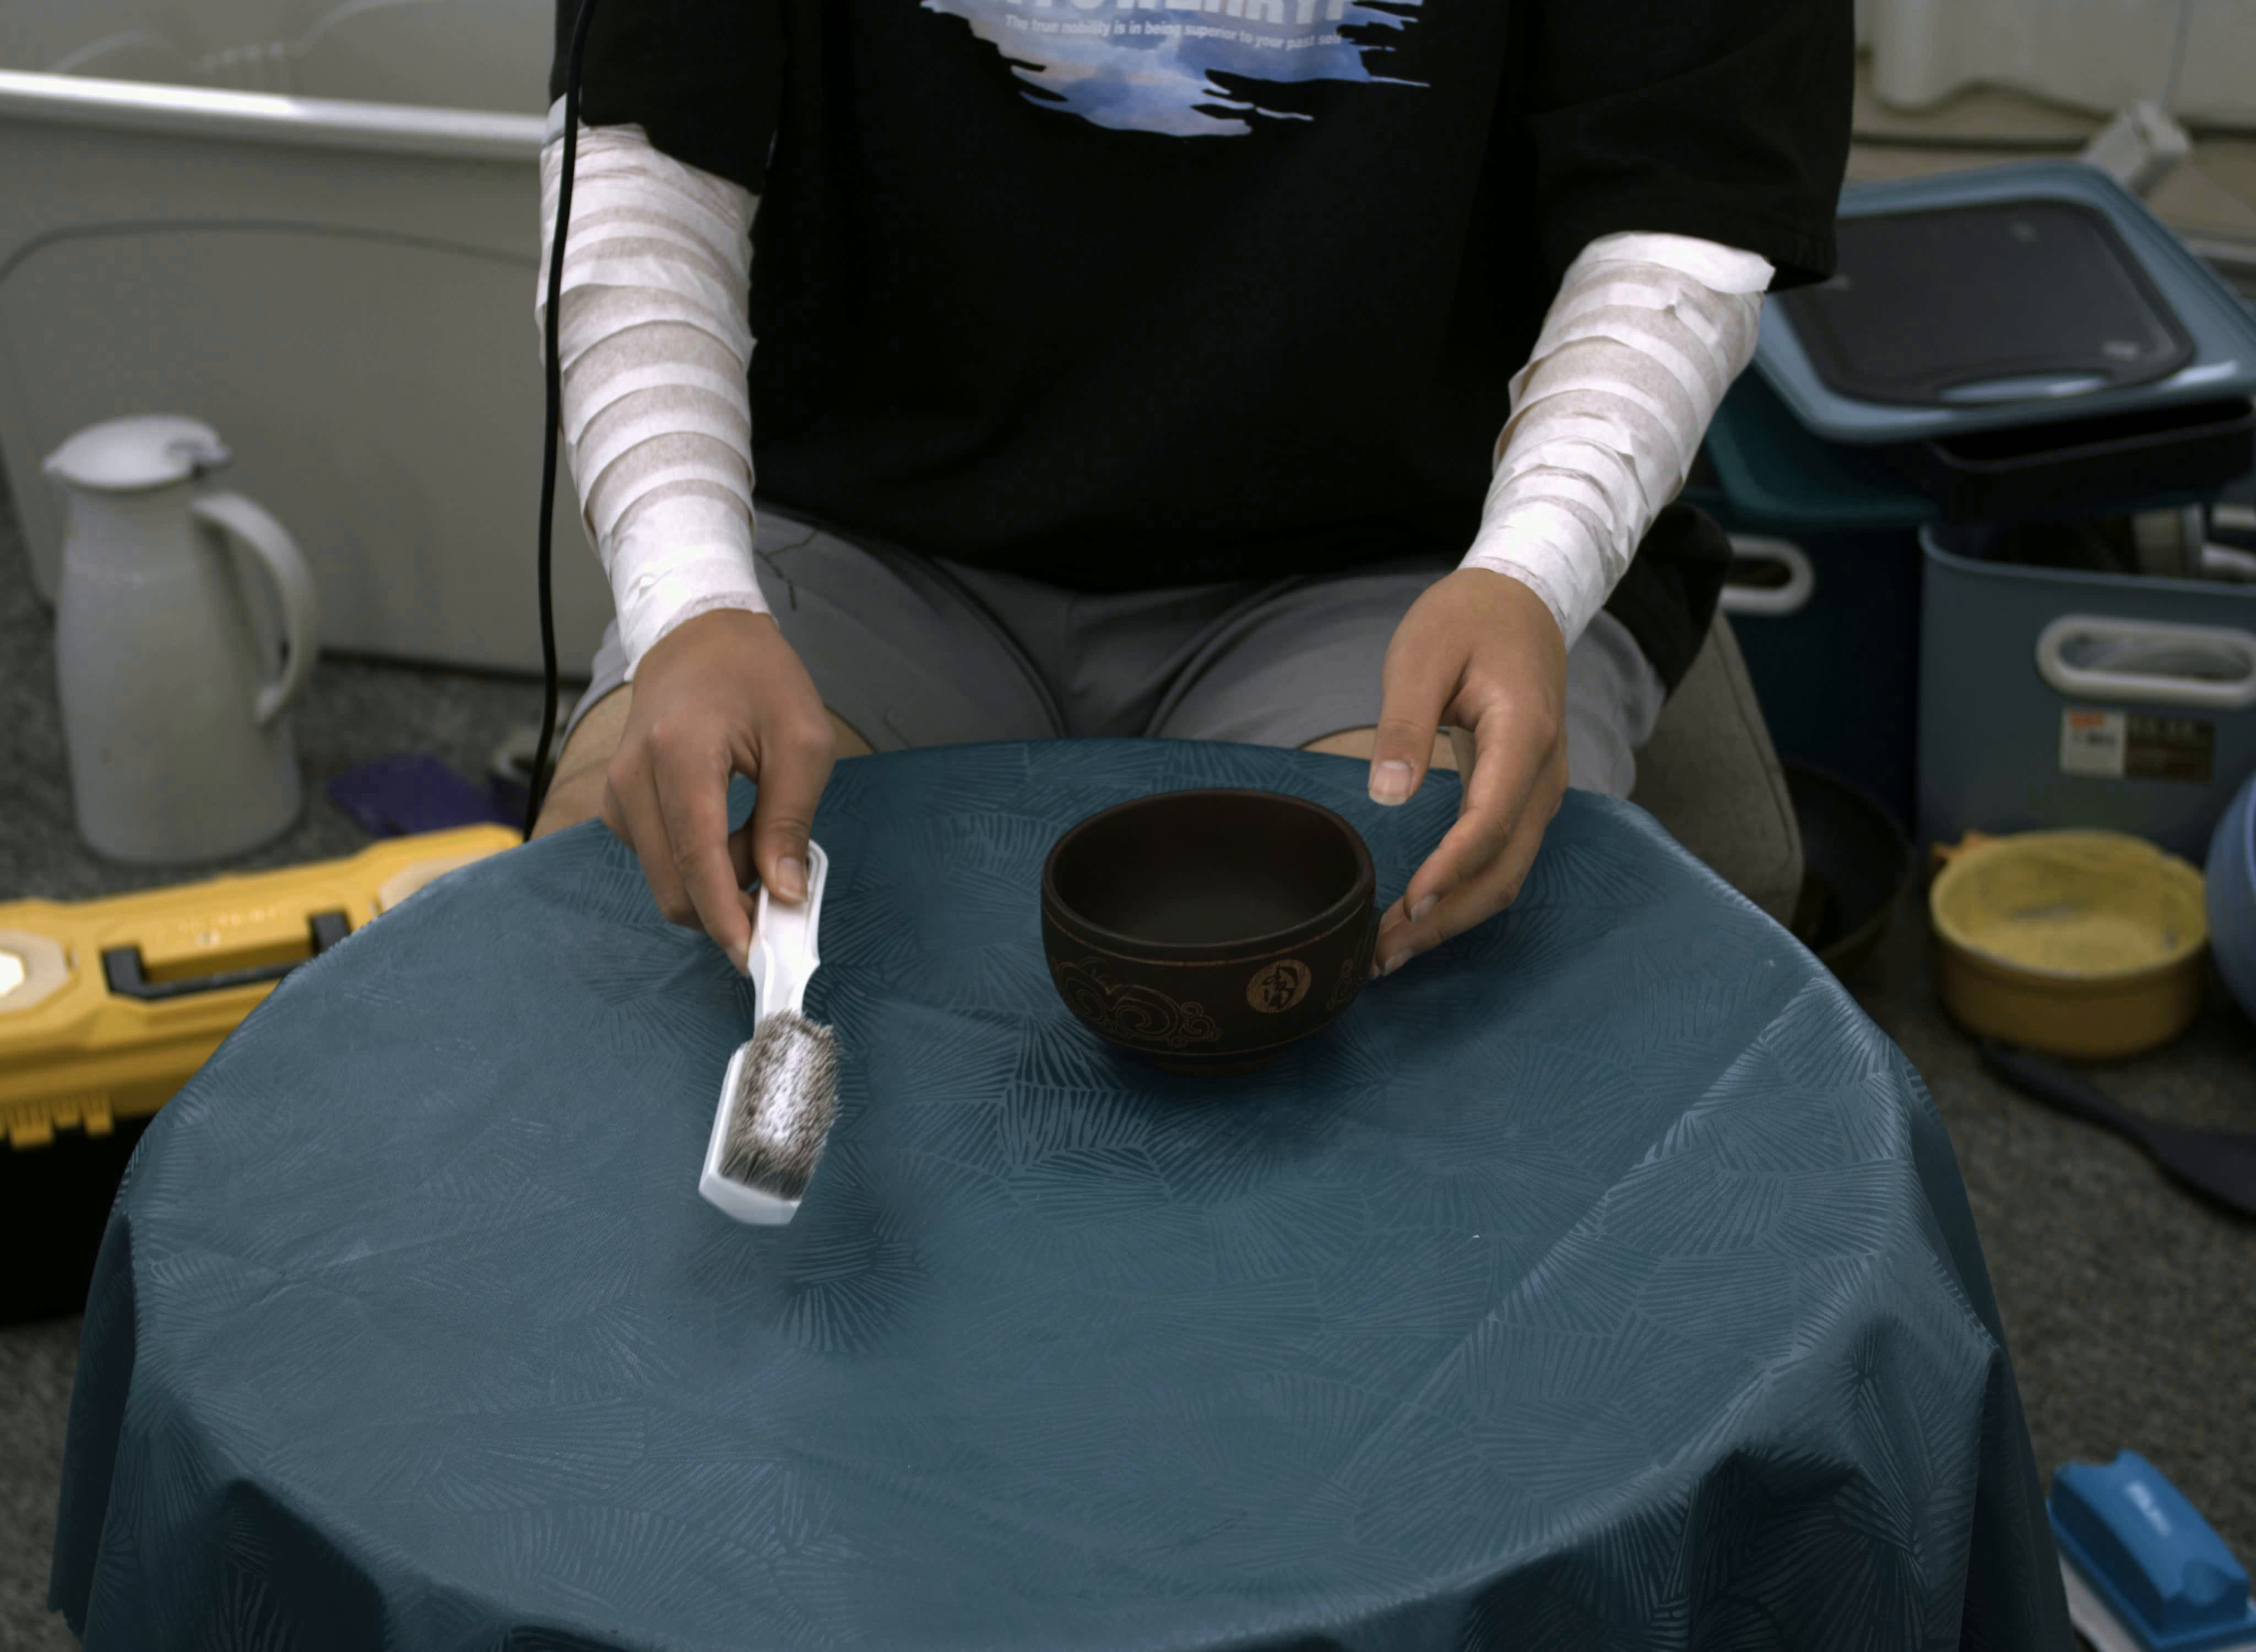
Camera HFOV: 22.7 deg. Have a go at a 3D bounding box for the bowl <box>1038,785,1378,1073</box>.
[{"bbox_3d":[0.028,0.042,1.935,0.117,0.069,0.120,-3,25,2],"label":"bowl"}]

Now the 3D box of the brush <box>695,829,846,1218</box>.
[{"bbox_3d":[-0.110,0.050,1.891,0.034,0.049,0.248,23,28,-9],"label":"brush"}]
